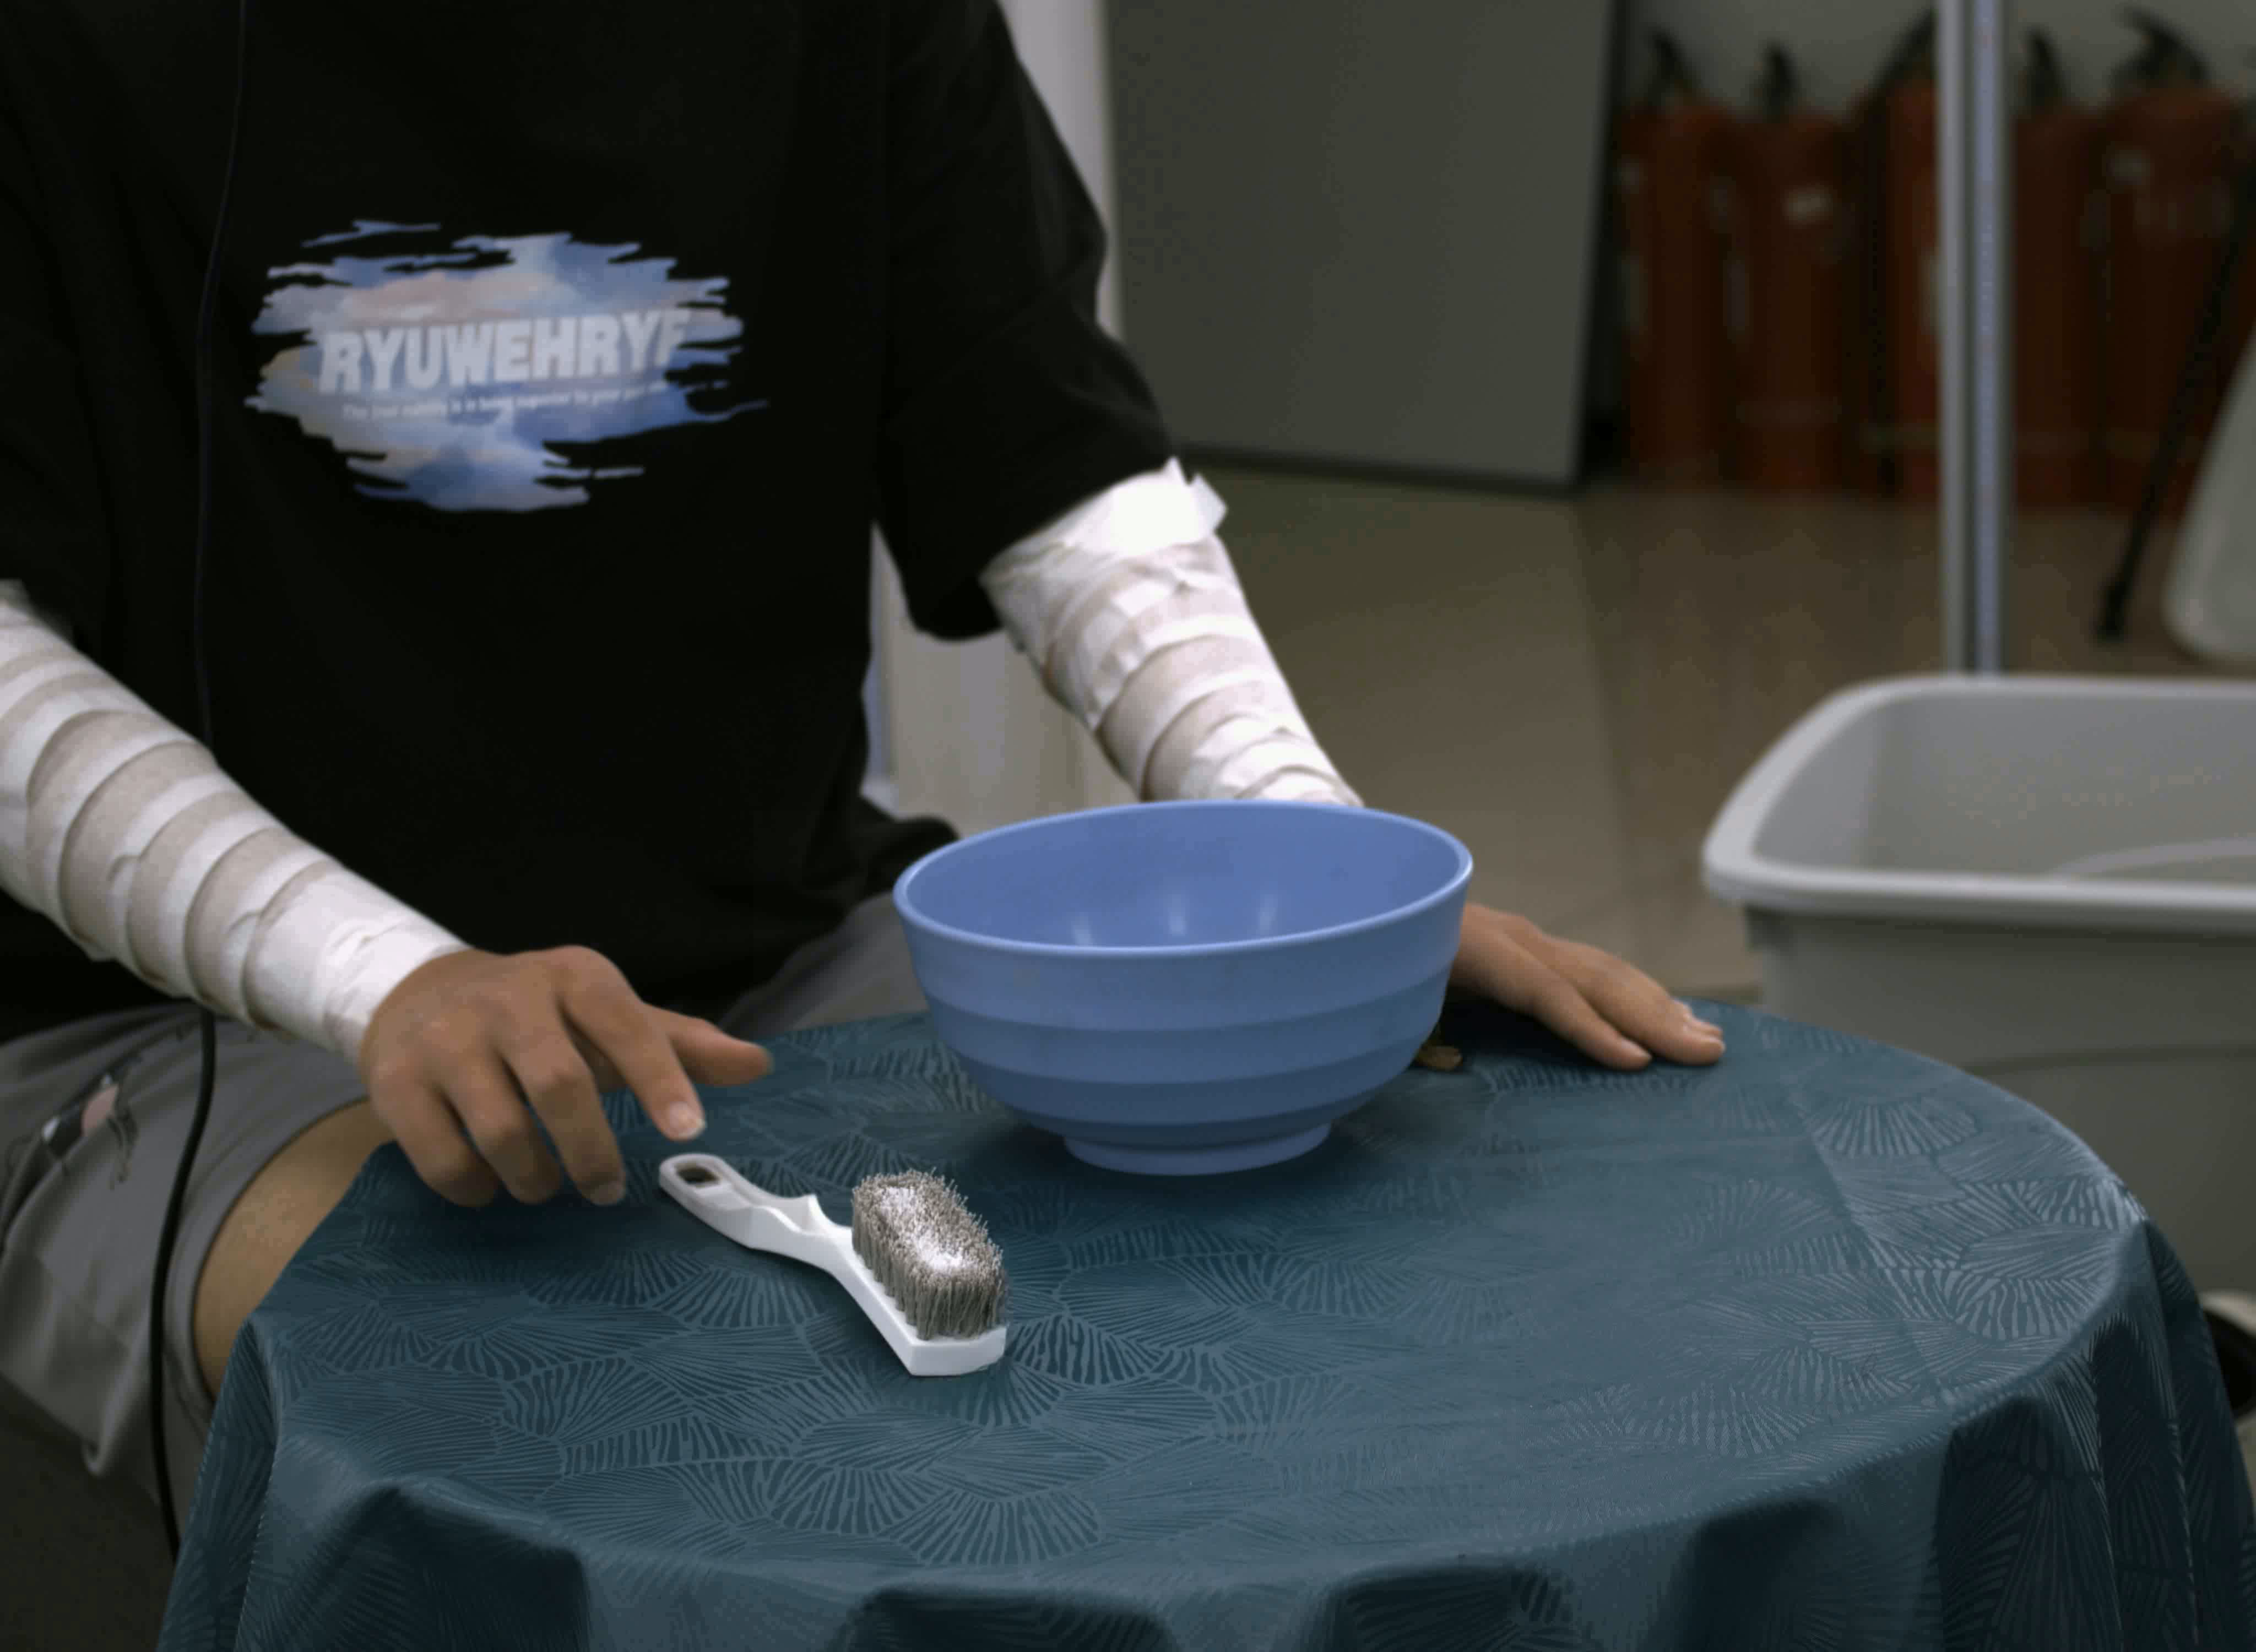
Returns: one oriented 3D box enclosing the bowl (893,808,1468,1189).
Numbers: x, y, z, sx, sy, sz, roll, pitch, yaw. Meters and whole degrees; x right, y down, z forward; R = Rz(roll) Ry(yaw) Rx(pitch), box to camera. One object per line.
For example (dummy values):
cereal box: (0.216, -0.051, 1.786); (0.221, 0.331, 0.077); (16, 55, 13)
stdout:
bowl: (0.022, 0.063, 1.817); (0.194, 0.096, 0.197); (-6, 13, 1)

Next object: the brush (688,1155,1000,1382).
brush: (-0.095, 0.119, 1.704); (0.034, 0.051, 0.246); (-12, 15, -20)
